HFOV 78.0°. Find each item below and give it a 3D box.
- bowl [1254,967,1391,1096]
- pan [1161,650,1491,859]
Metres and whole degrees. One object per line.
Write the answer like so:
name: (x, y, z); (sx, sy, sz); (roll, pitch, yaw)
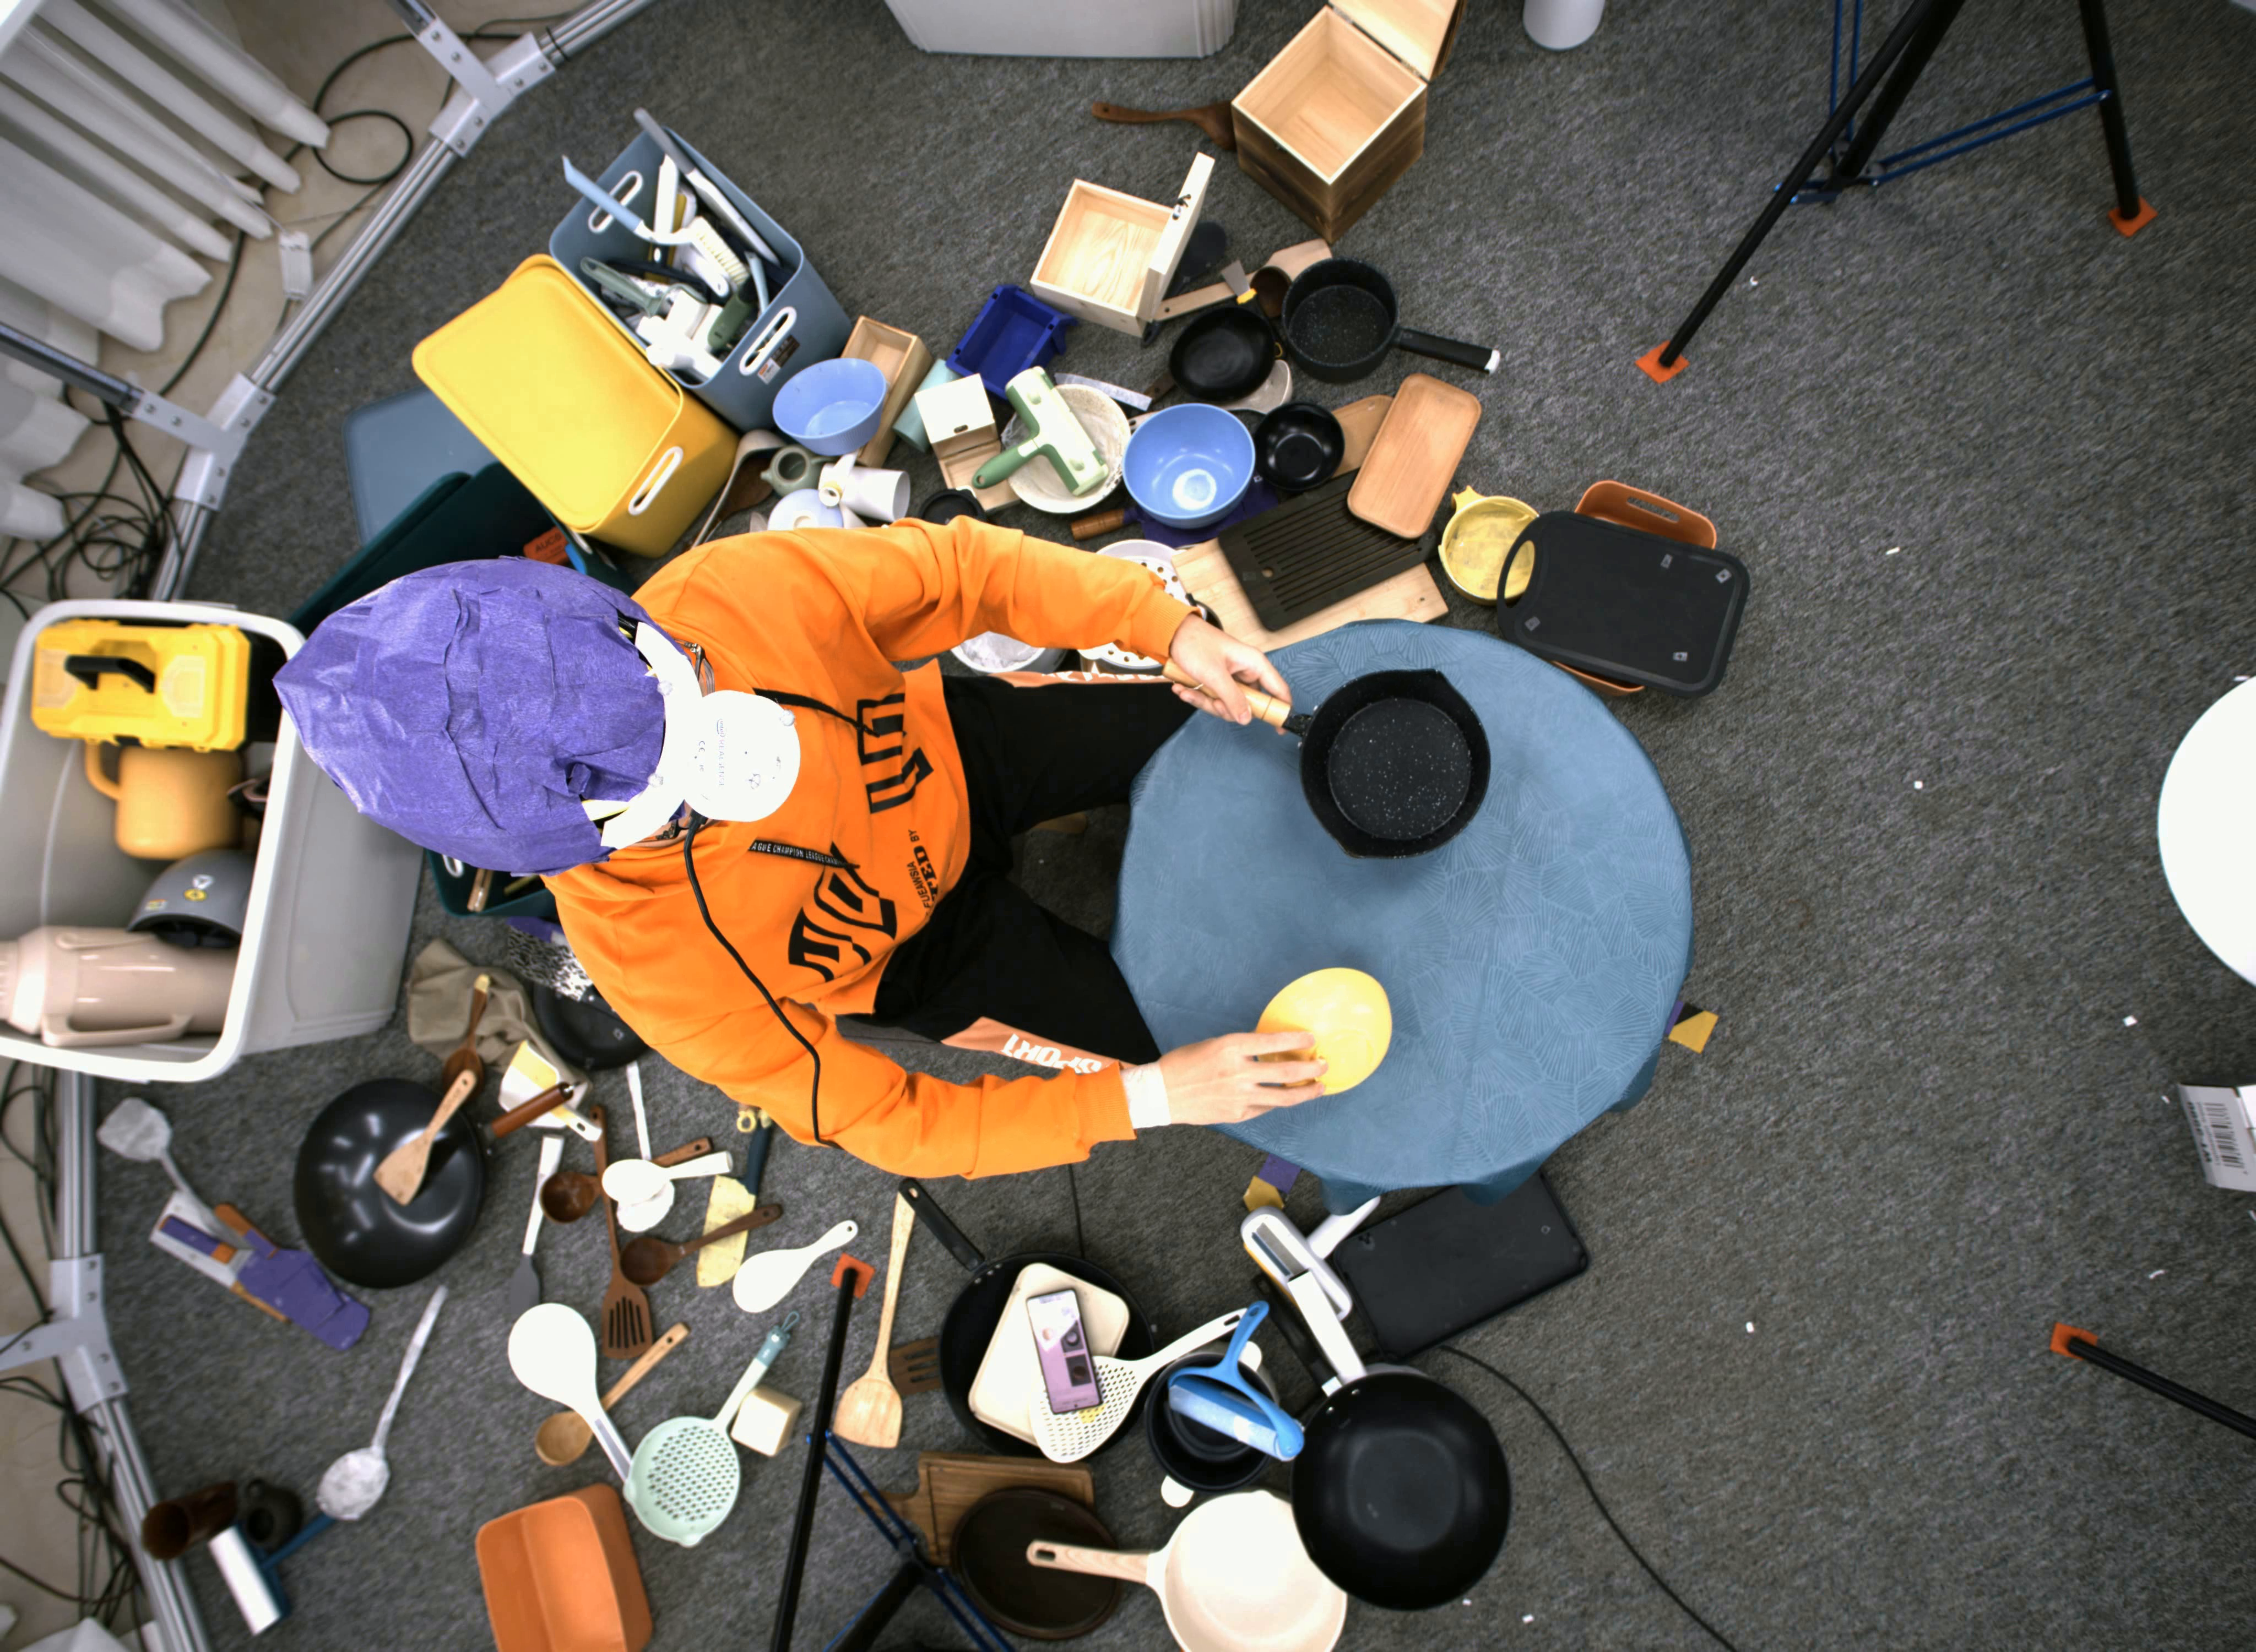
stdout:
bowl: (0.202, 0.214, 1.365); (0.145, 0.059, 0.148); (-7, 120, -13)
pan: (0.194, -0.093, 1.379); (0.342, 0.107, 0.209); (24, 98, 12)
